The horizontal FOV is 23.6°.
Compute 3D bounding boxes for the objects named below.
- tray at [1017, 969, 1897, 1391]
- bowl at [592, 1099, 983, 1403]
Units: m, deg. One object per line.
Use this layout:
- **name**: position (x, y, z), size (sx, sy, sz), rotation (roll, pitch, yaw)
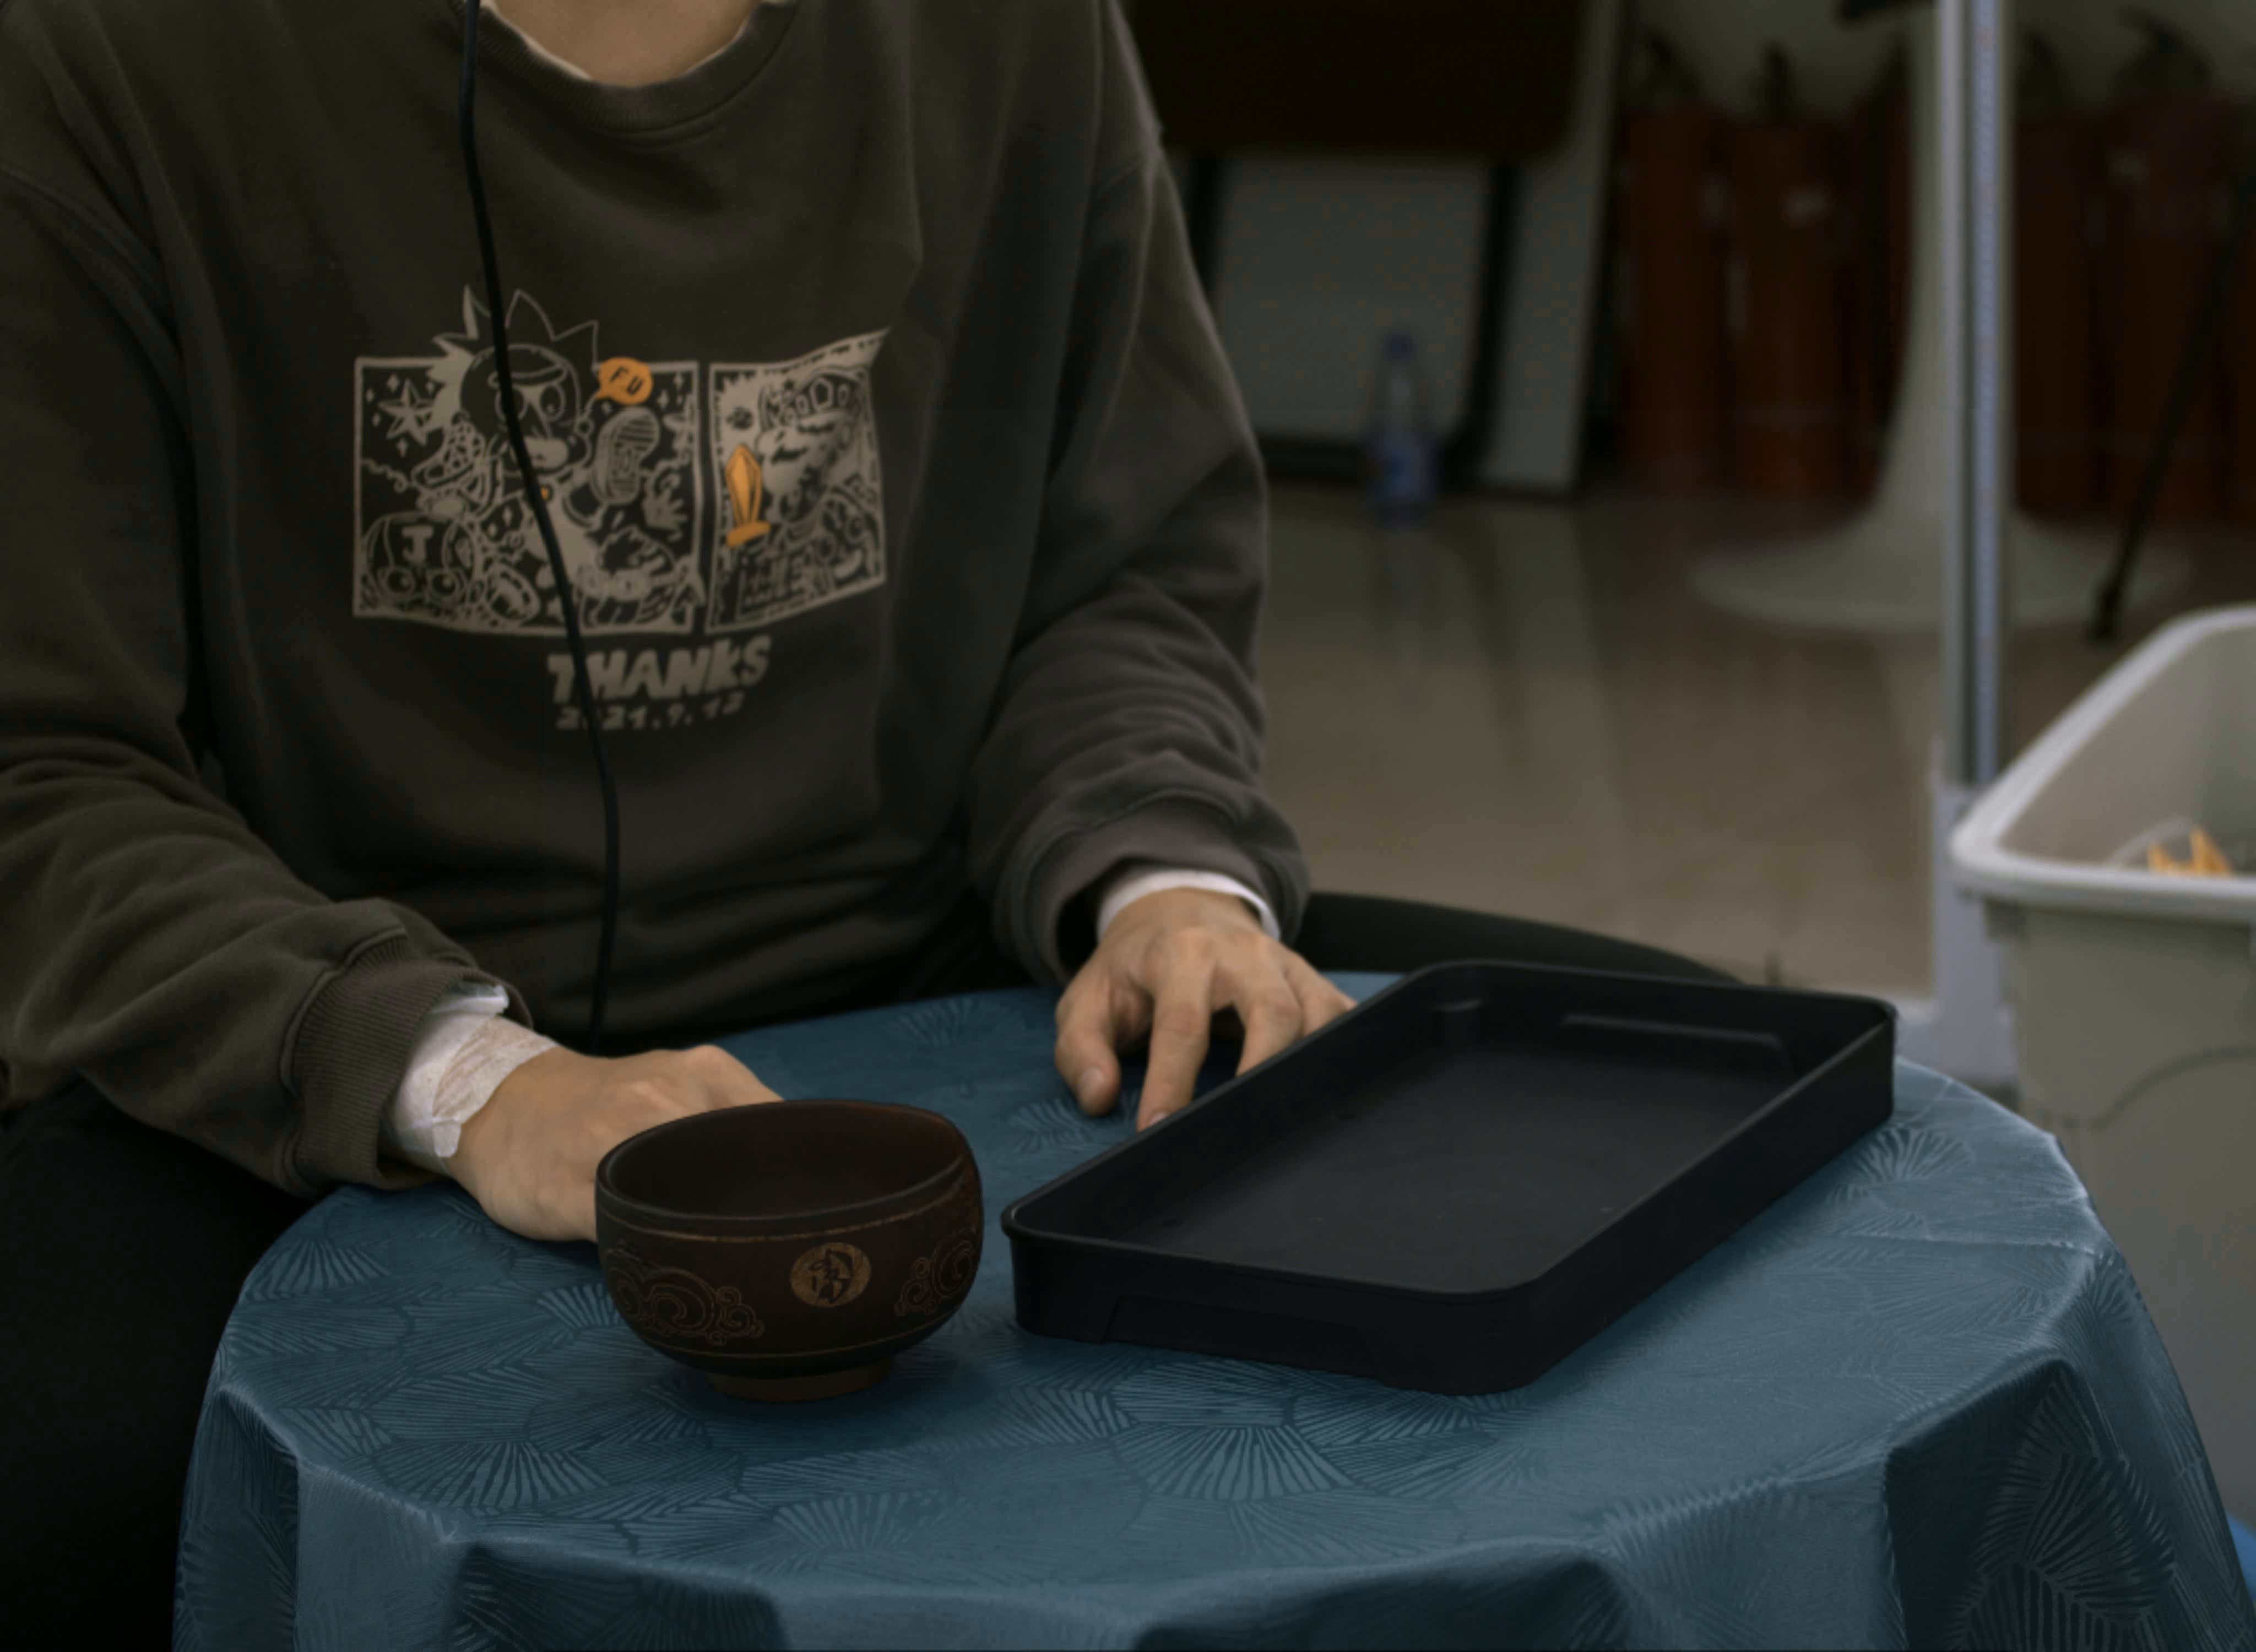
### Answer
- **tray**: position (0.113, 0.107, 1.727), size (0.185, 0.037, 0.313), rotation (3, 15, 29)
- **bowl**: position (-0.100, 0.130, 1.616), size (0.116, 0.070, 0.118), rotation (-5, 12, 0)
